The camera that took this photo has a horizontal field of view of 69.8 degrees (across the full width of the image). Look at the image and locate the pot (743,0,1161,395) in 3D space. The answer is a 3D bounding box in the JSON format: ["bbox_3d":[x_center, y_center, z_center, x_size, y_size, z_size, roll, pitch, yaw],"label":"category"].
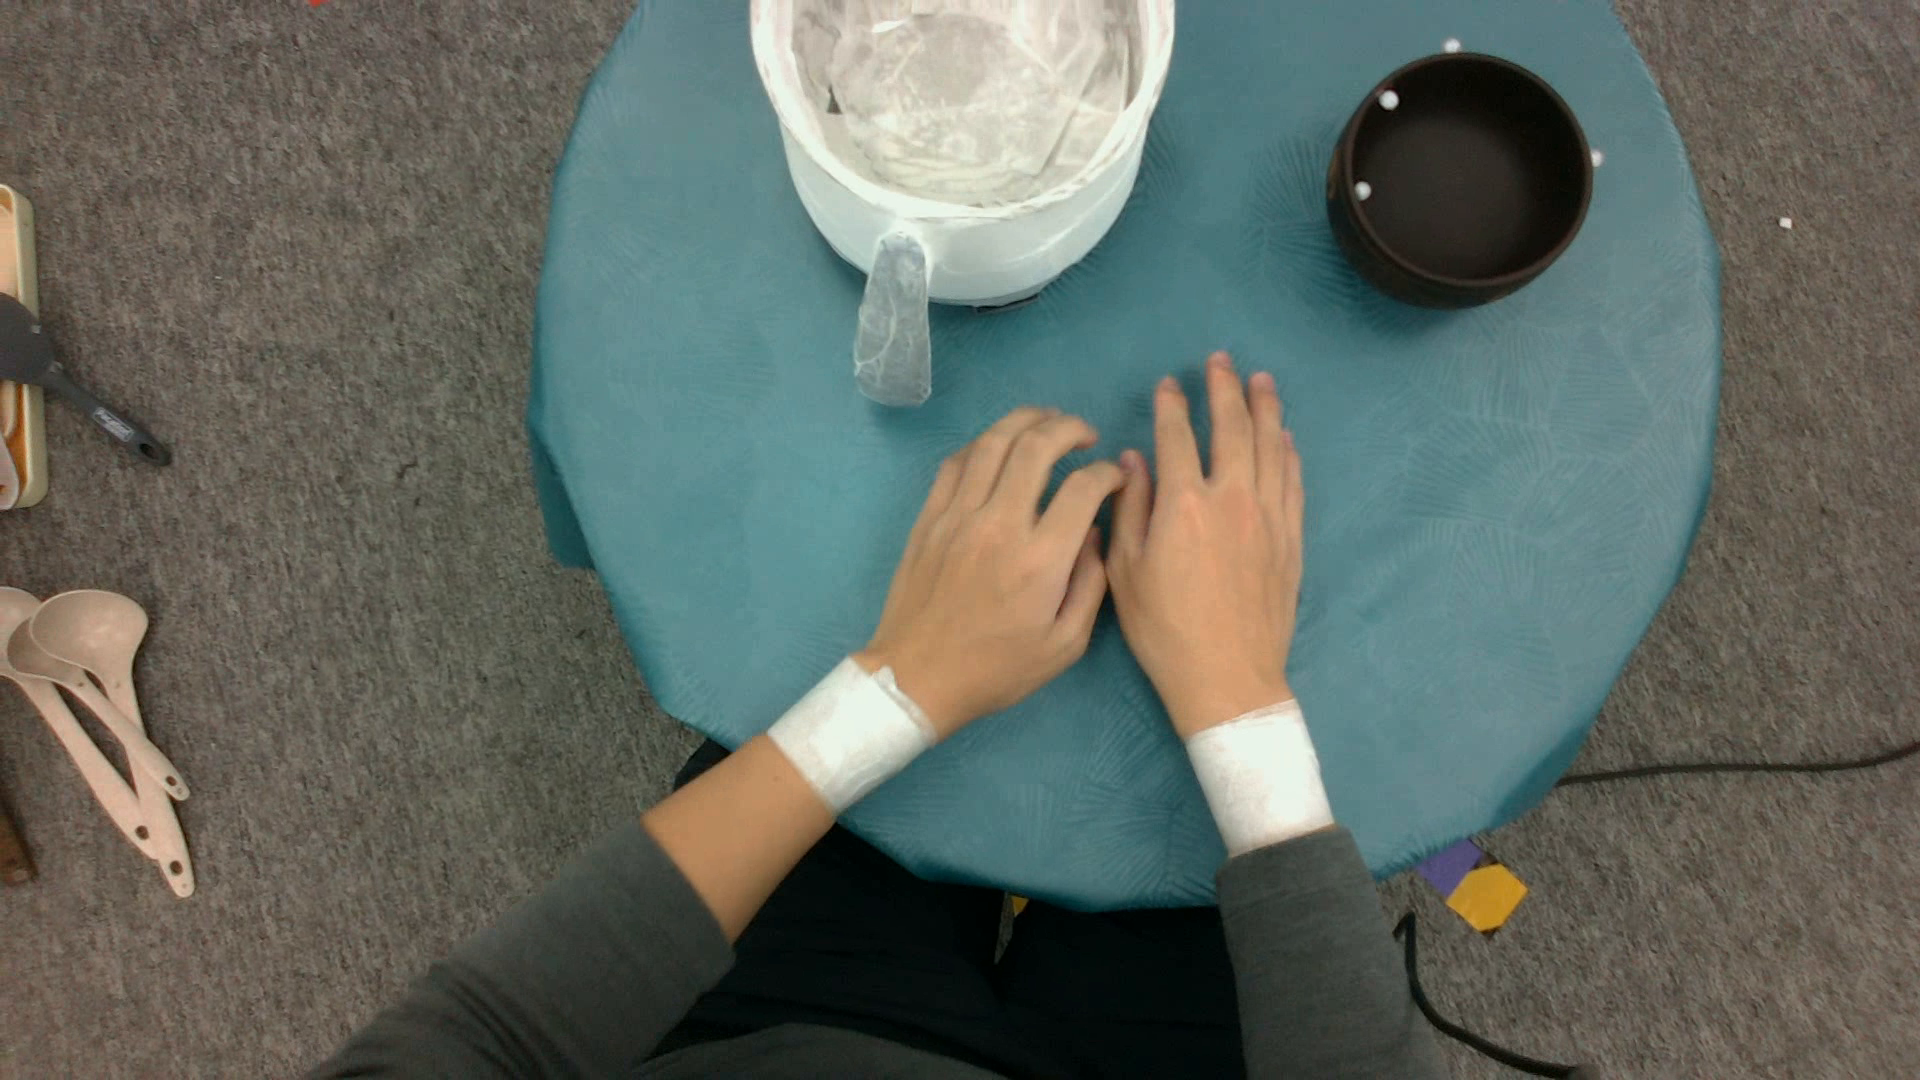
[{"bbox_3d":[-0.010,-0.187,0.640,0.179,0.136,0.234,14,82,2],"label":"pot"}]

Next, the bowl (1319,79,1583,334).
[{"bbox_3d":[0.234,-0.158,0.677,0.118,0.070,0.118,0,88,1],"label":"bowl"}]
